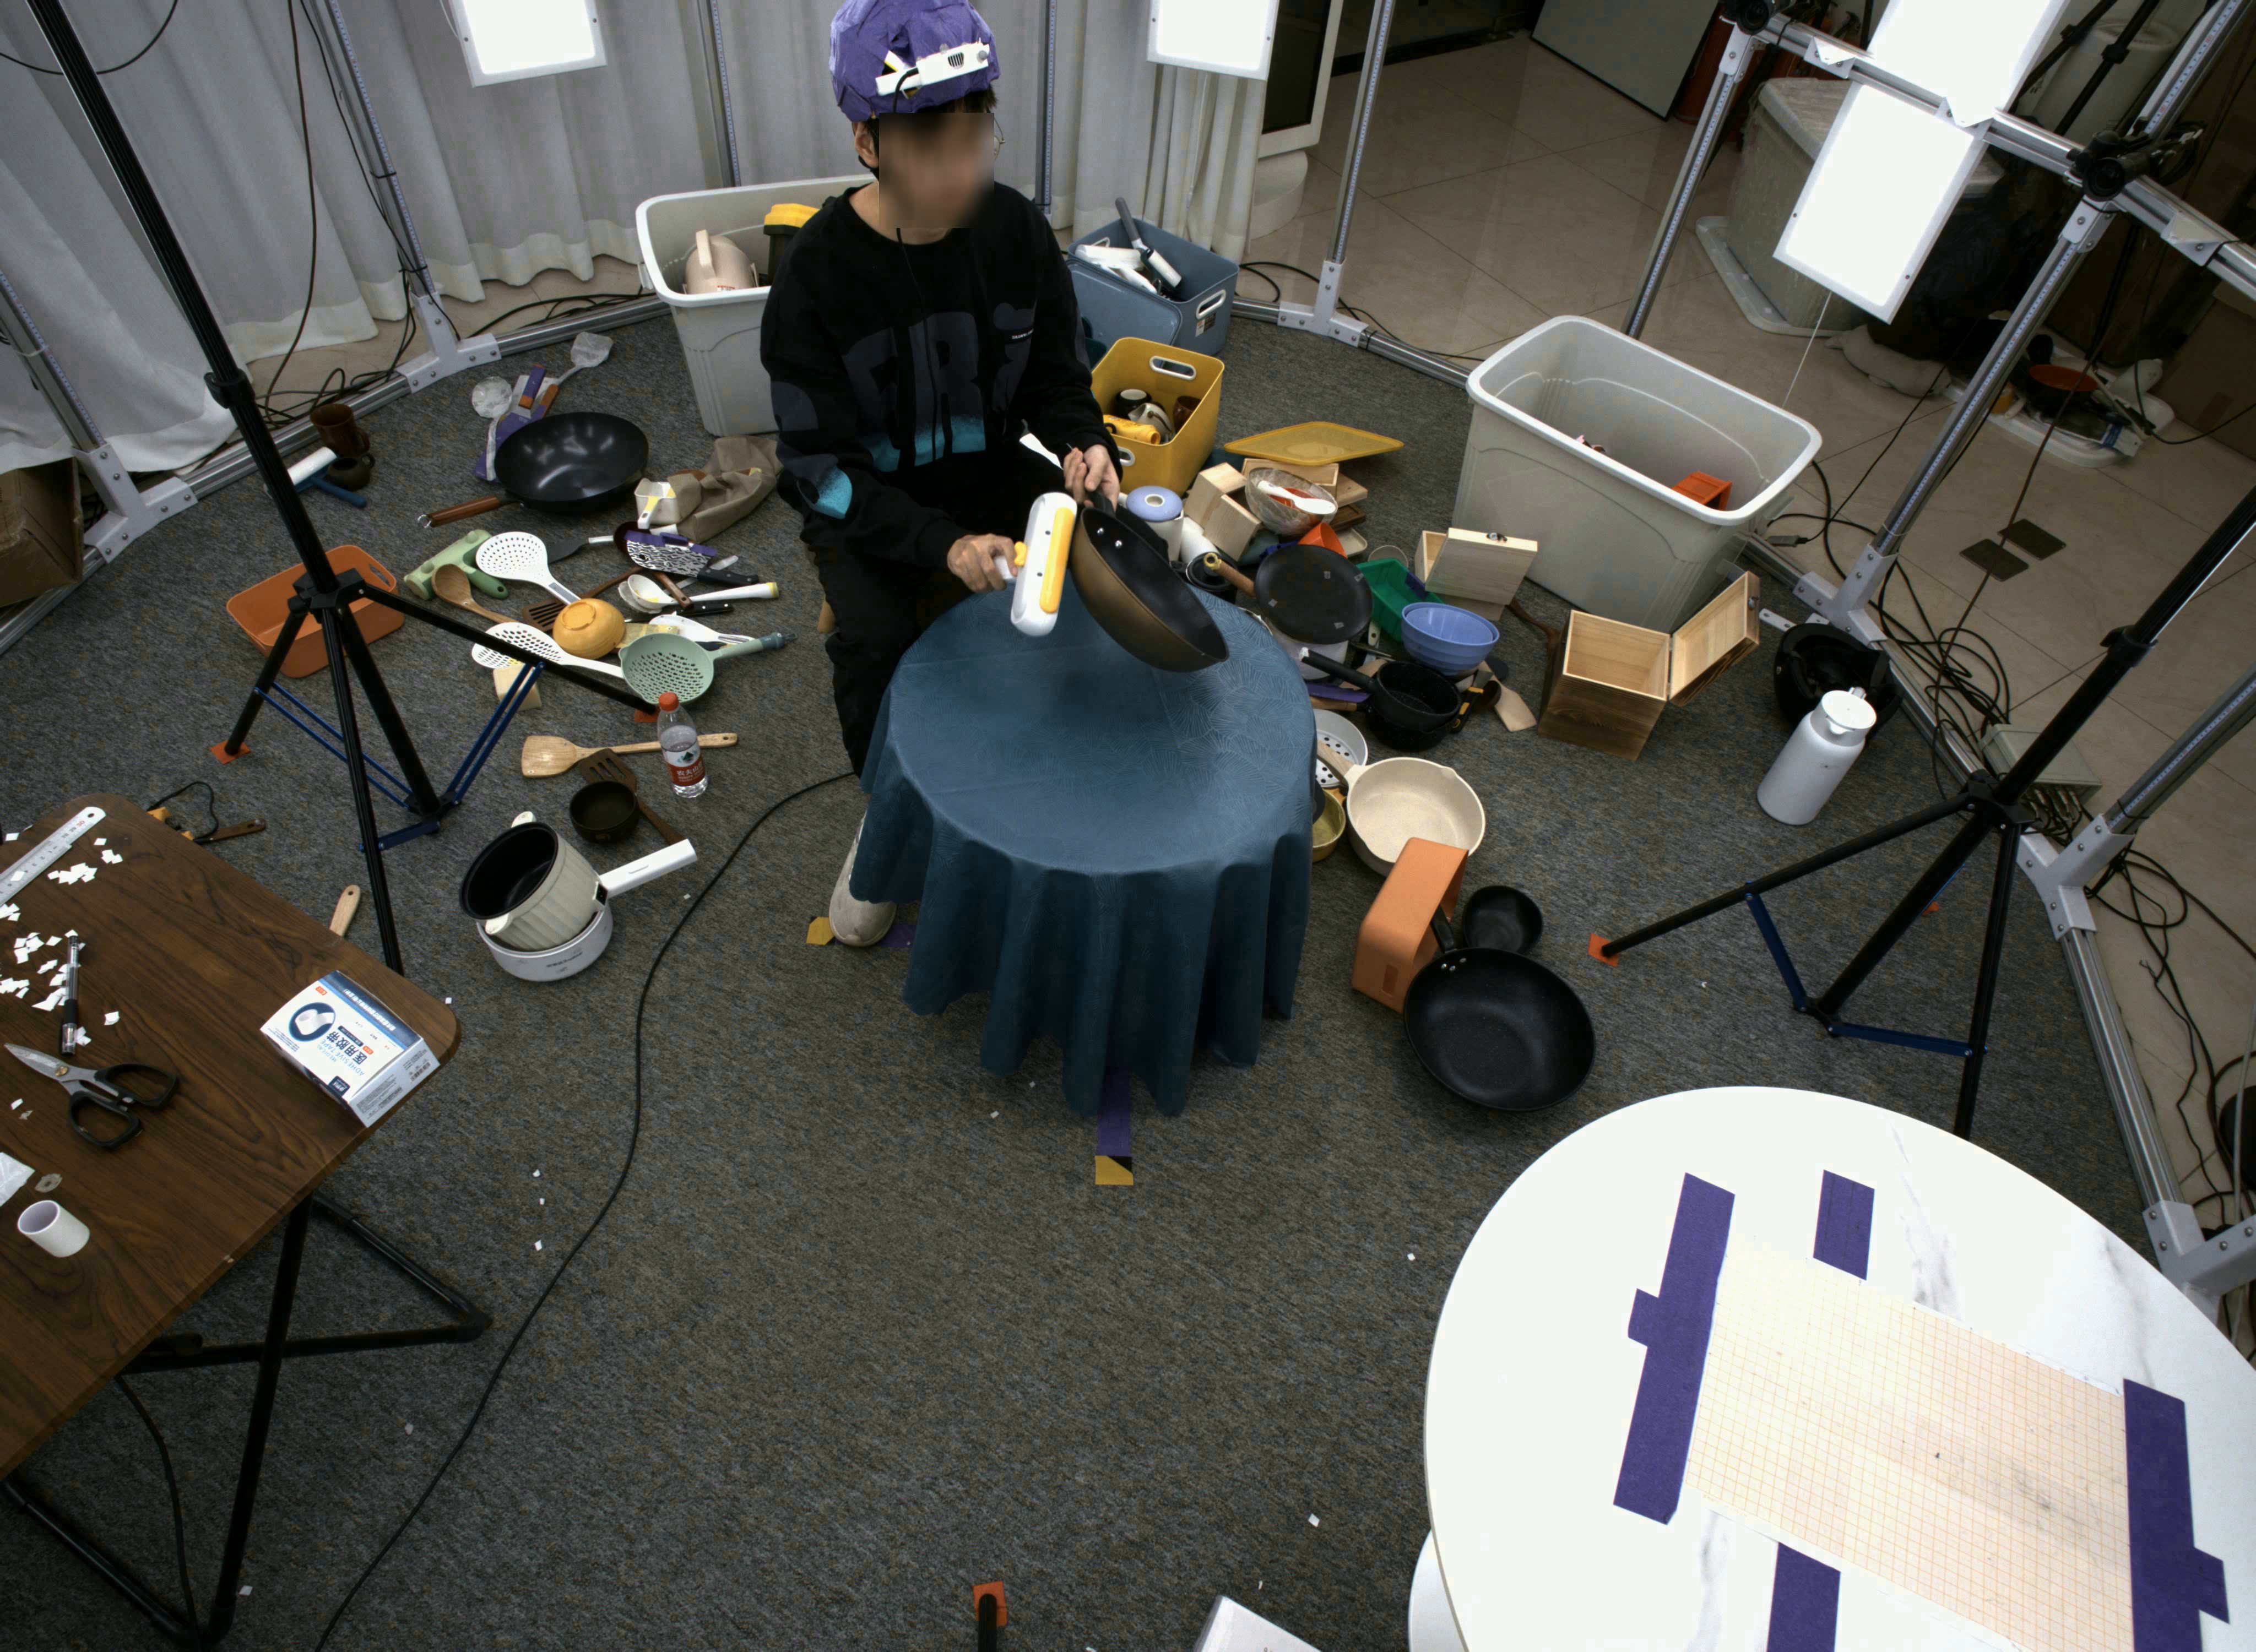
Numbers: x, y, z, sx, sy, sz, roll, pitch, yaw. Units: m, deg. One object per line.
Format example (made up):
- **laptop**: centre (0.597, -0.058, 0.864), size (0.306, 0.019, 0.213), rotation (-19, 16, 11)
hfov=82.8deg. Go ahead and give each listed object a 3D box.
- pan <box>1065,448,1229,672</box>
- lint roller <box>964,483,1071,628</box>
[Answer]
- **pan**: centre (-0.024, -0.371, 1.800), size (0.284, 0.086, 0.474), rotation (22, 32, -47)
- **lint roller**: centre (-0.151, -0.354, 1.742), size (0.073, 0.192, 0.194), rotation (9, 80, -35)
